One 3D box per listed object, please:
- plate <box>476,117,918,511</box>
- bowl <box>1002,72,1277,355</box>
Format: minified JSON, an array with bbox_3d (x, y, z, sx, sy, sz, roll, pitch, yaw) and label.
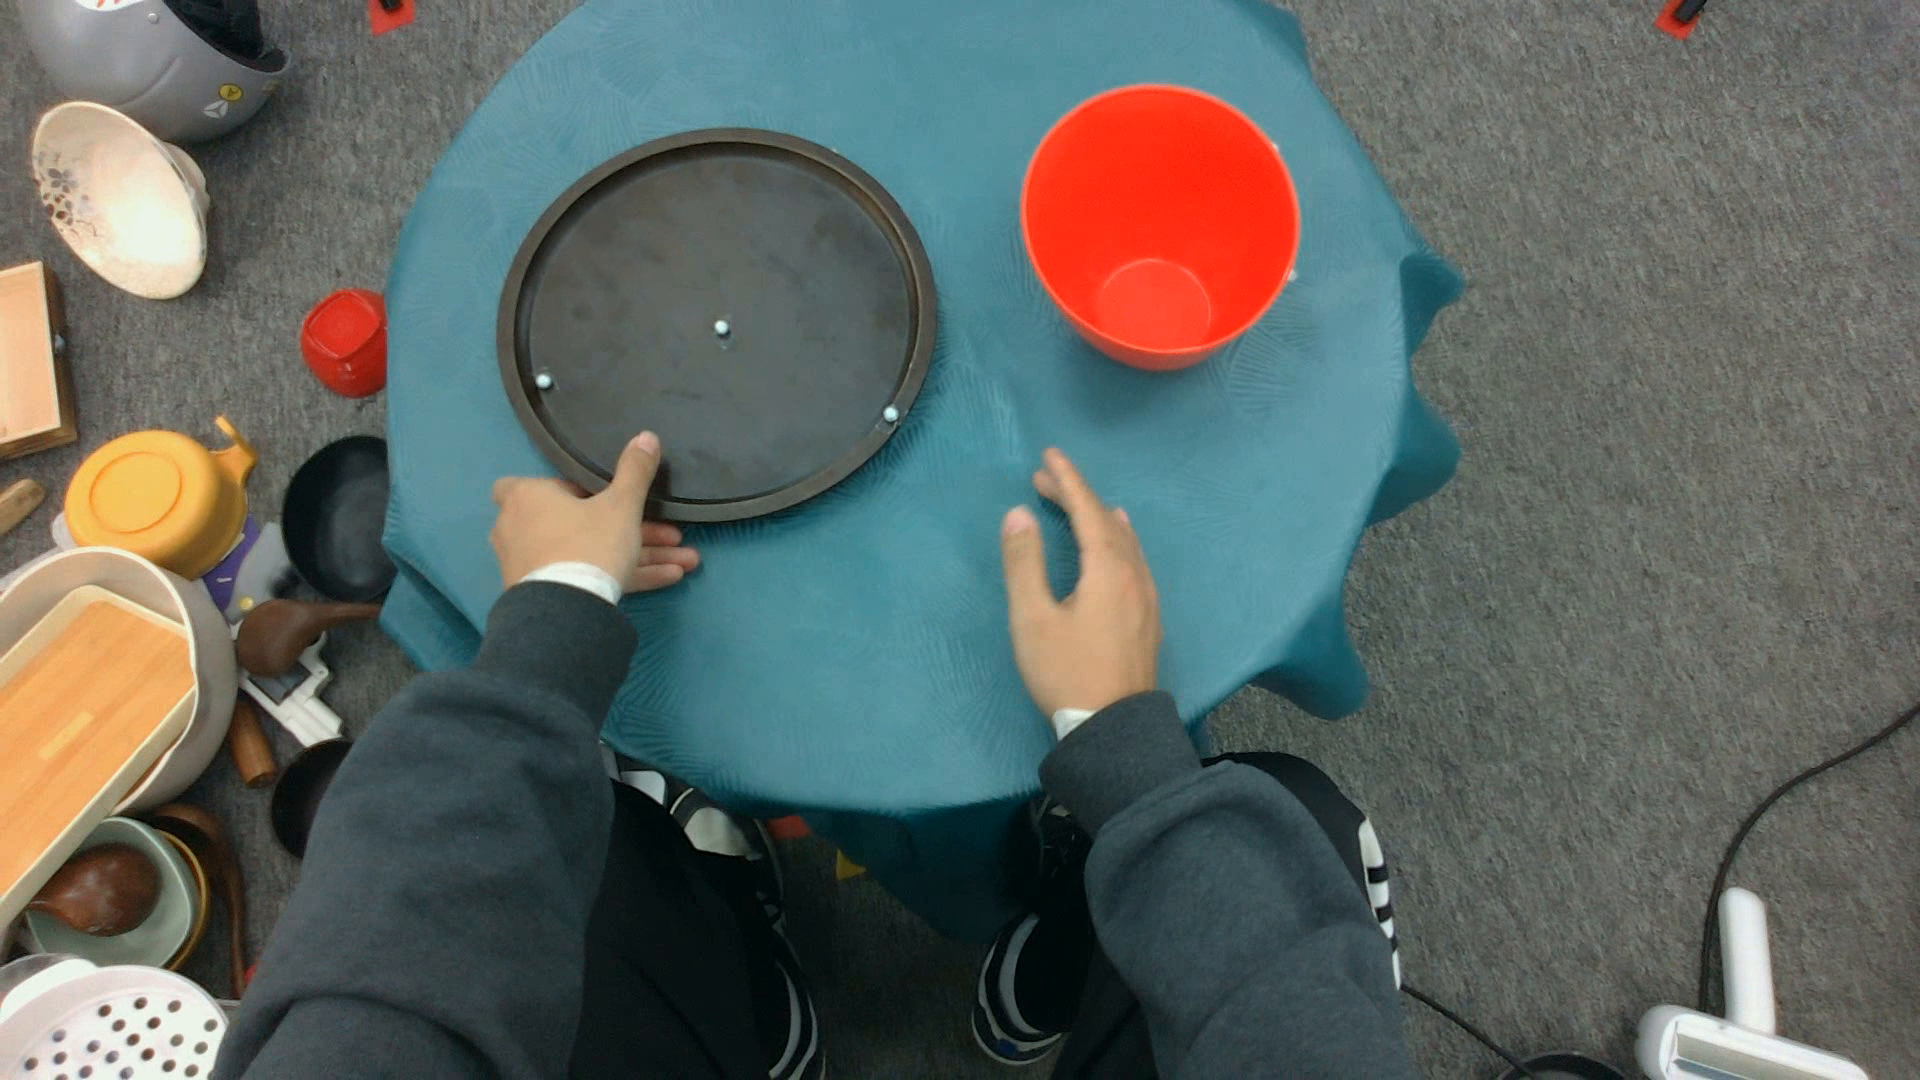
[{"bbox_3d":[-0.151,-0.134,0.796,0.255,0.029,0.255,0,71,-1],"label":"plate"},{"bbox_3d":[0.095,-0.167,0.765,0.148,0.104,0.148,0,70,-1],"label":"bowl"}]
